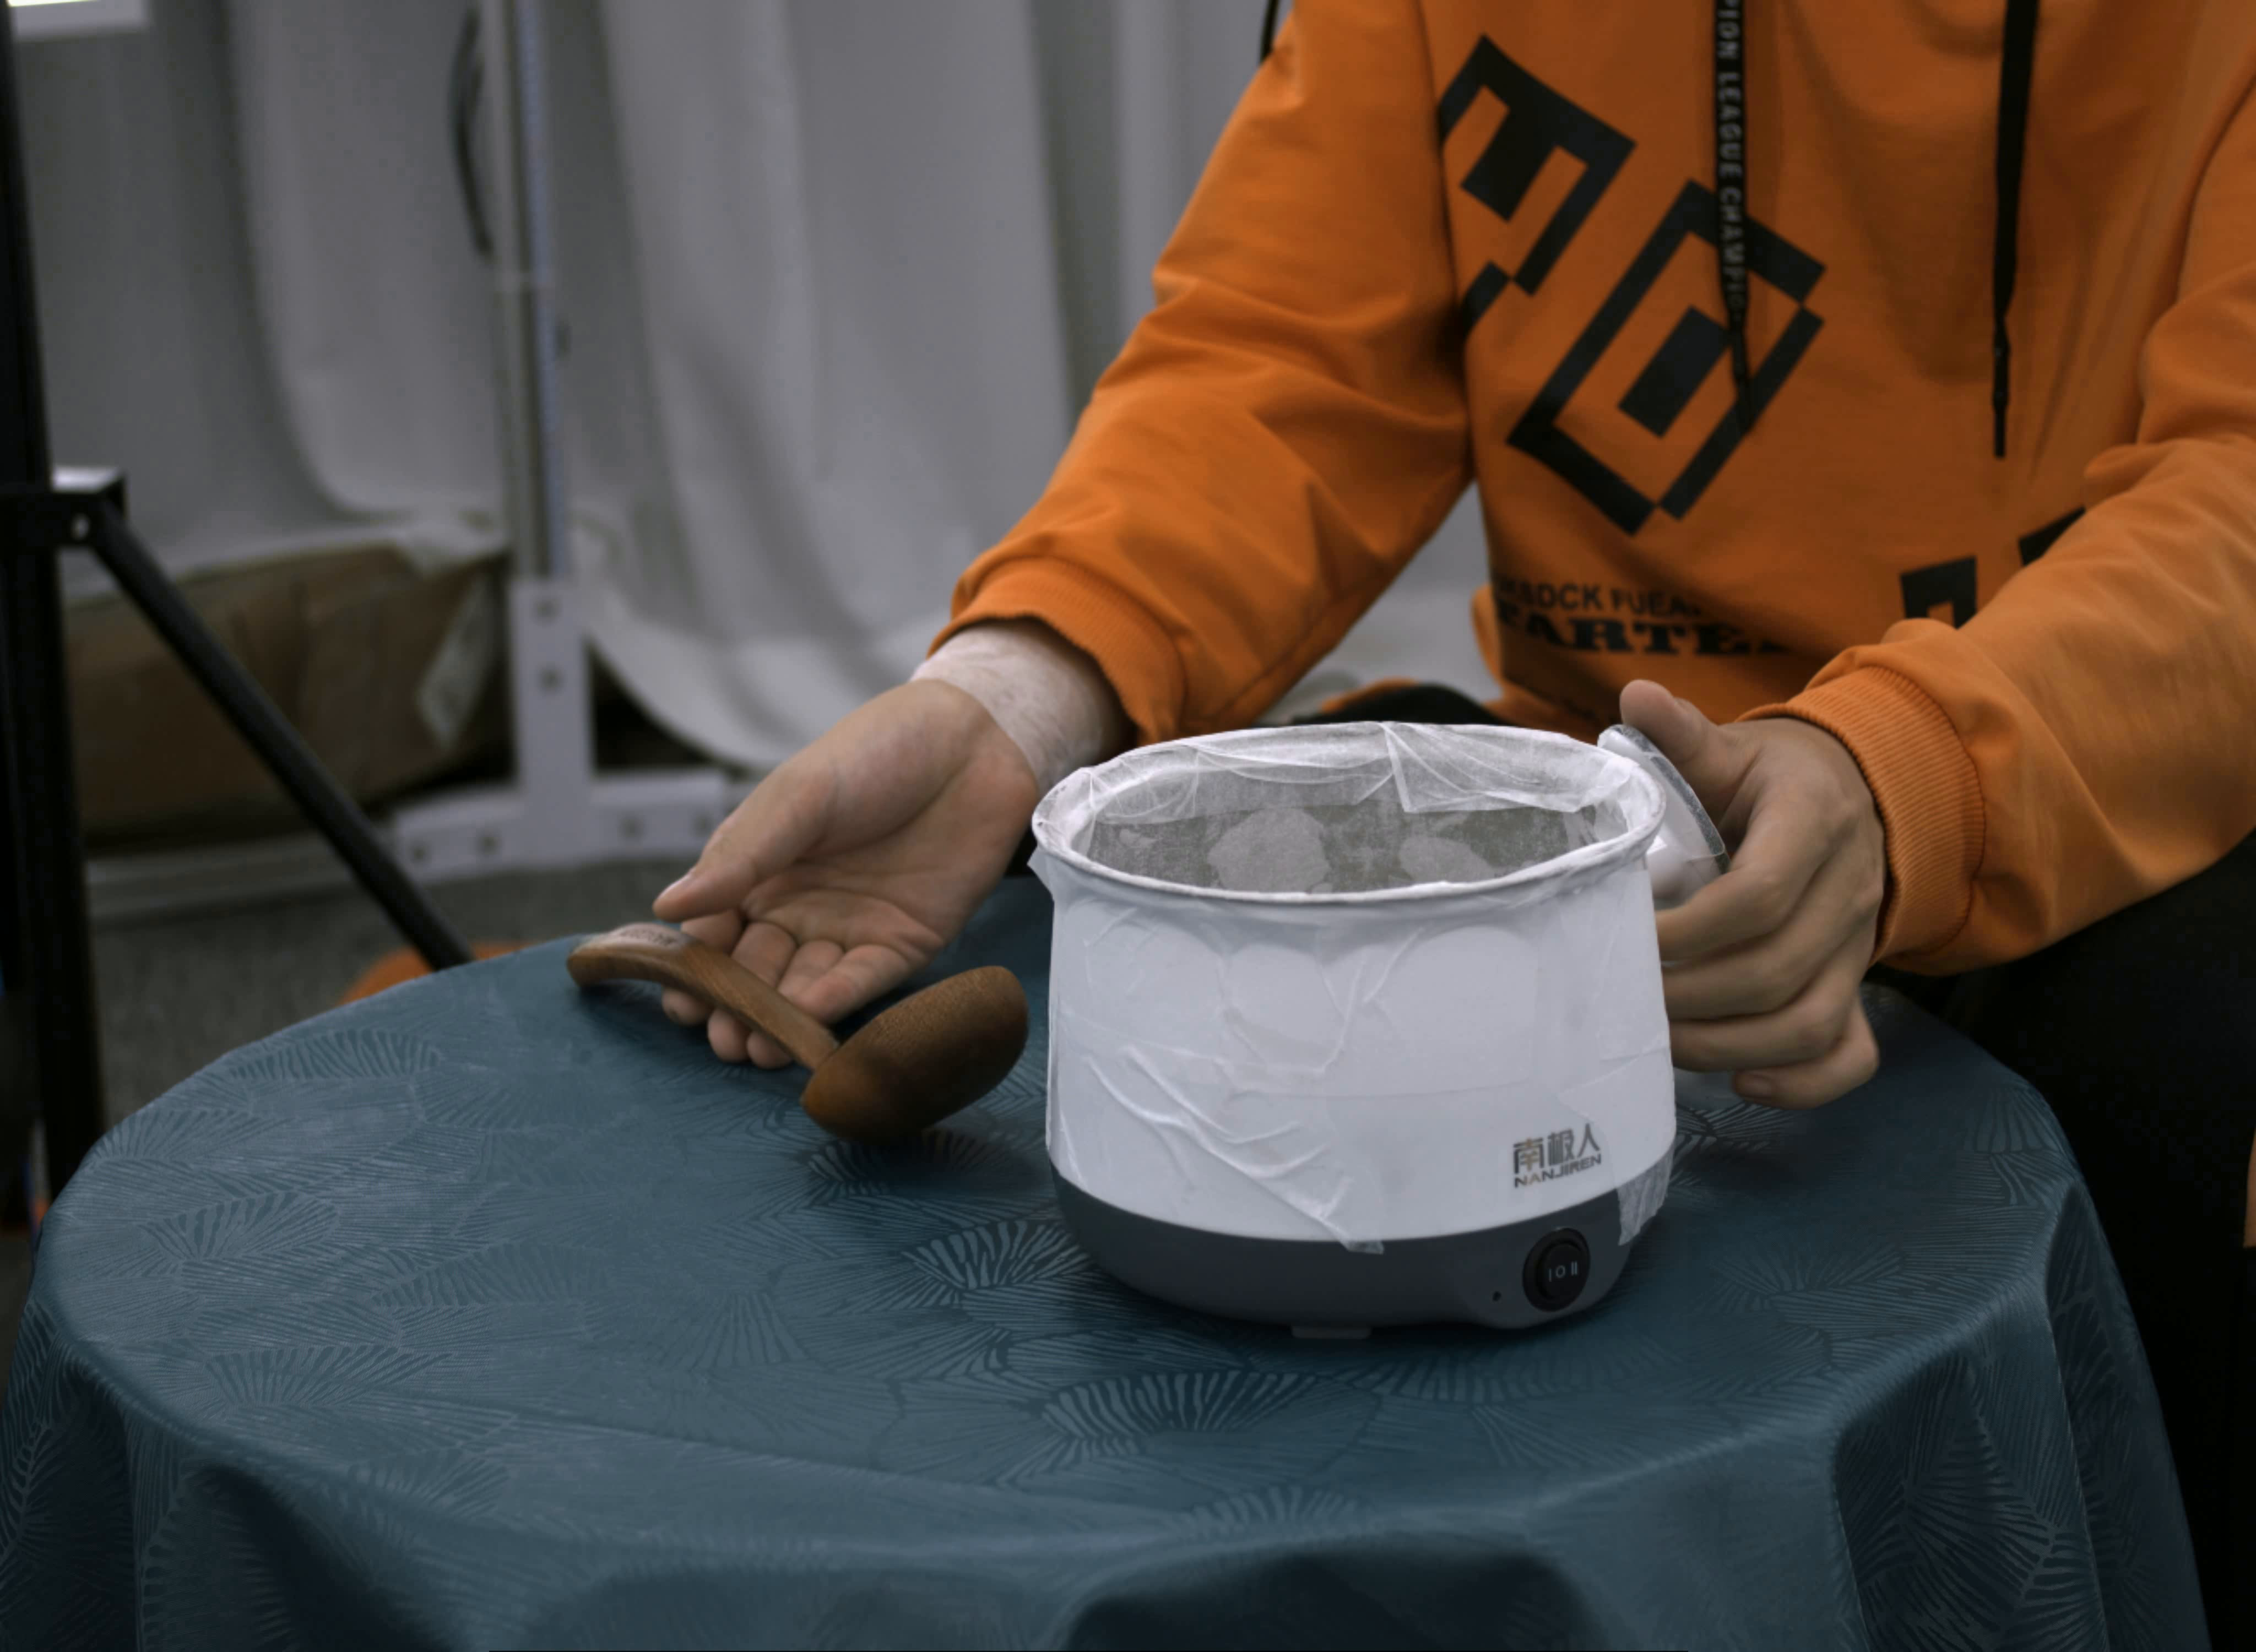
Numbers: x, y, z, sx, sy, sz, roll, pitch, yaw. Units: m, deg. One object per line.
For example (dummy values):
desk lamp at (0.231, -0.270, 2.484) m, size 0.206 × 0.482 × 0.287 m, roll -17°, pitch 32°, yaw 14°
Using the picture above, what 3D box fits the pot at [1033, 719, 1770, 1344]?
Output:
pot at (0.086, 0.050, 1.497) m, size 0.228 × 0.136 × 0.183 m, roll -13°, pitch 19°, yaw -34°

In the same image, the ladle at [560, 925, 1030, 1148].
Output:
ladle at (-0.116, 0.049, 1.670) m, size 0.075 × 0.065 × 0.266 m, roll -18°, pitch 22°, yaw -28°
